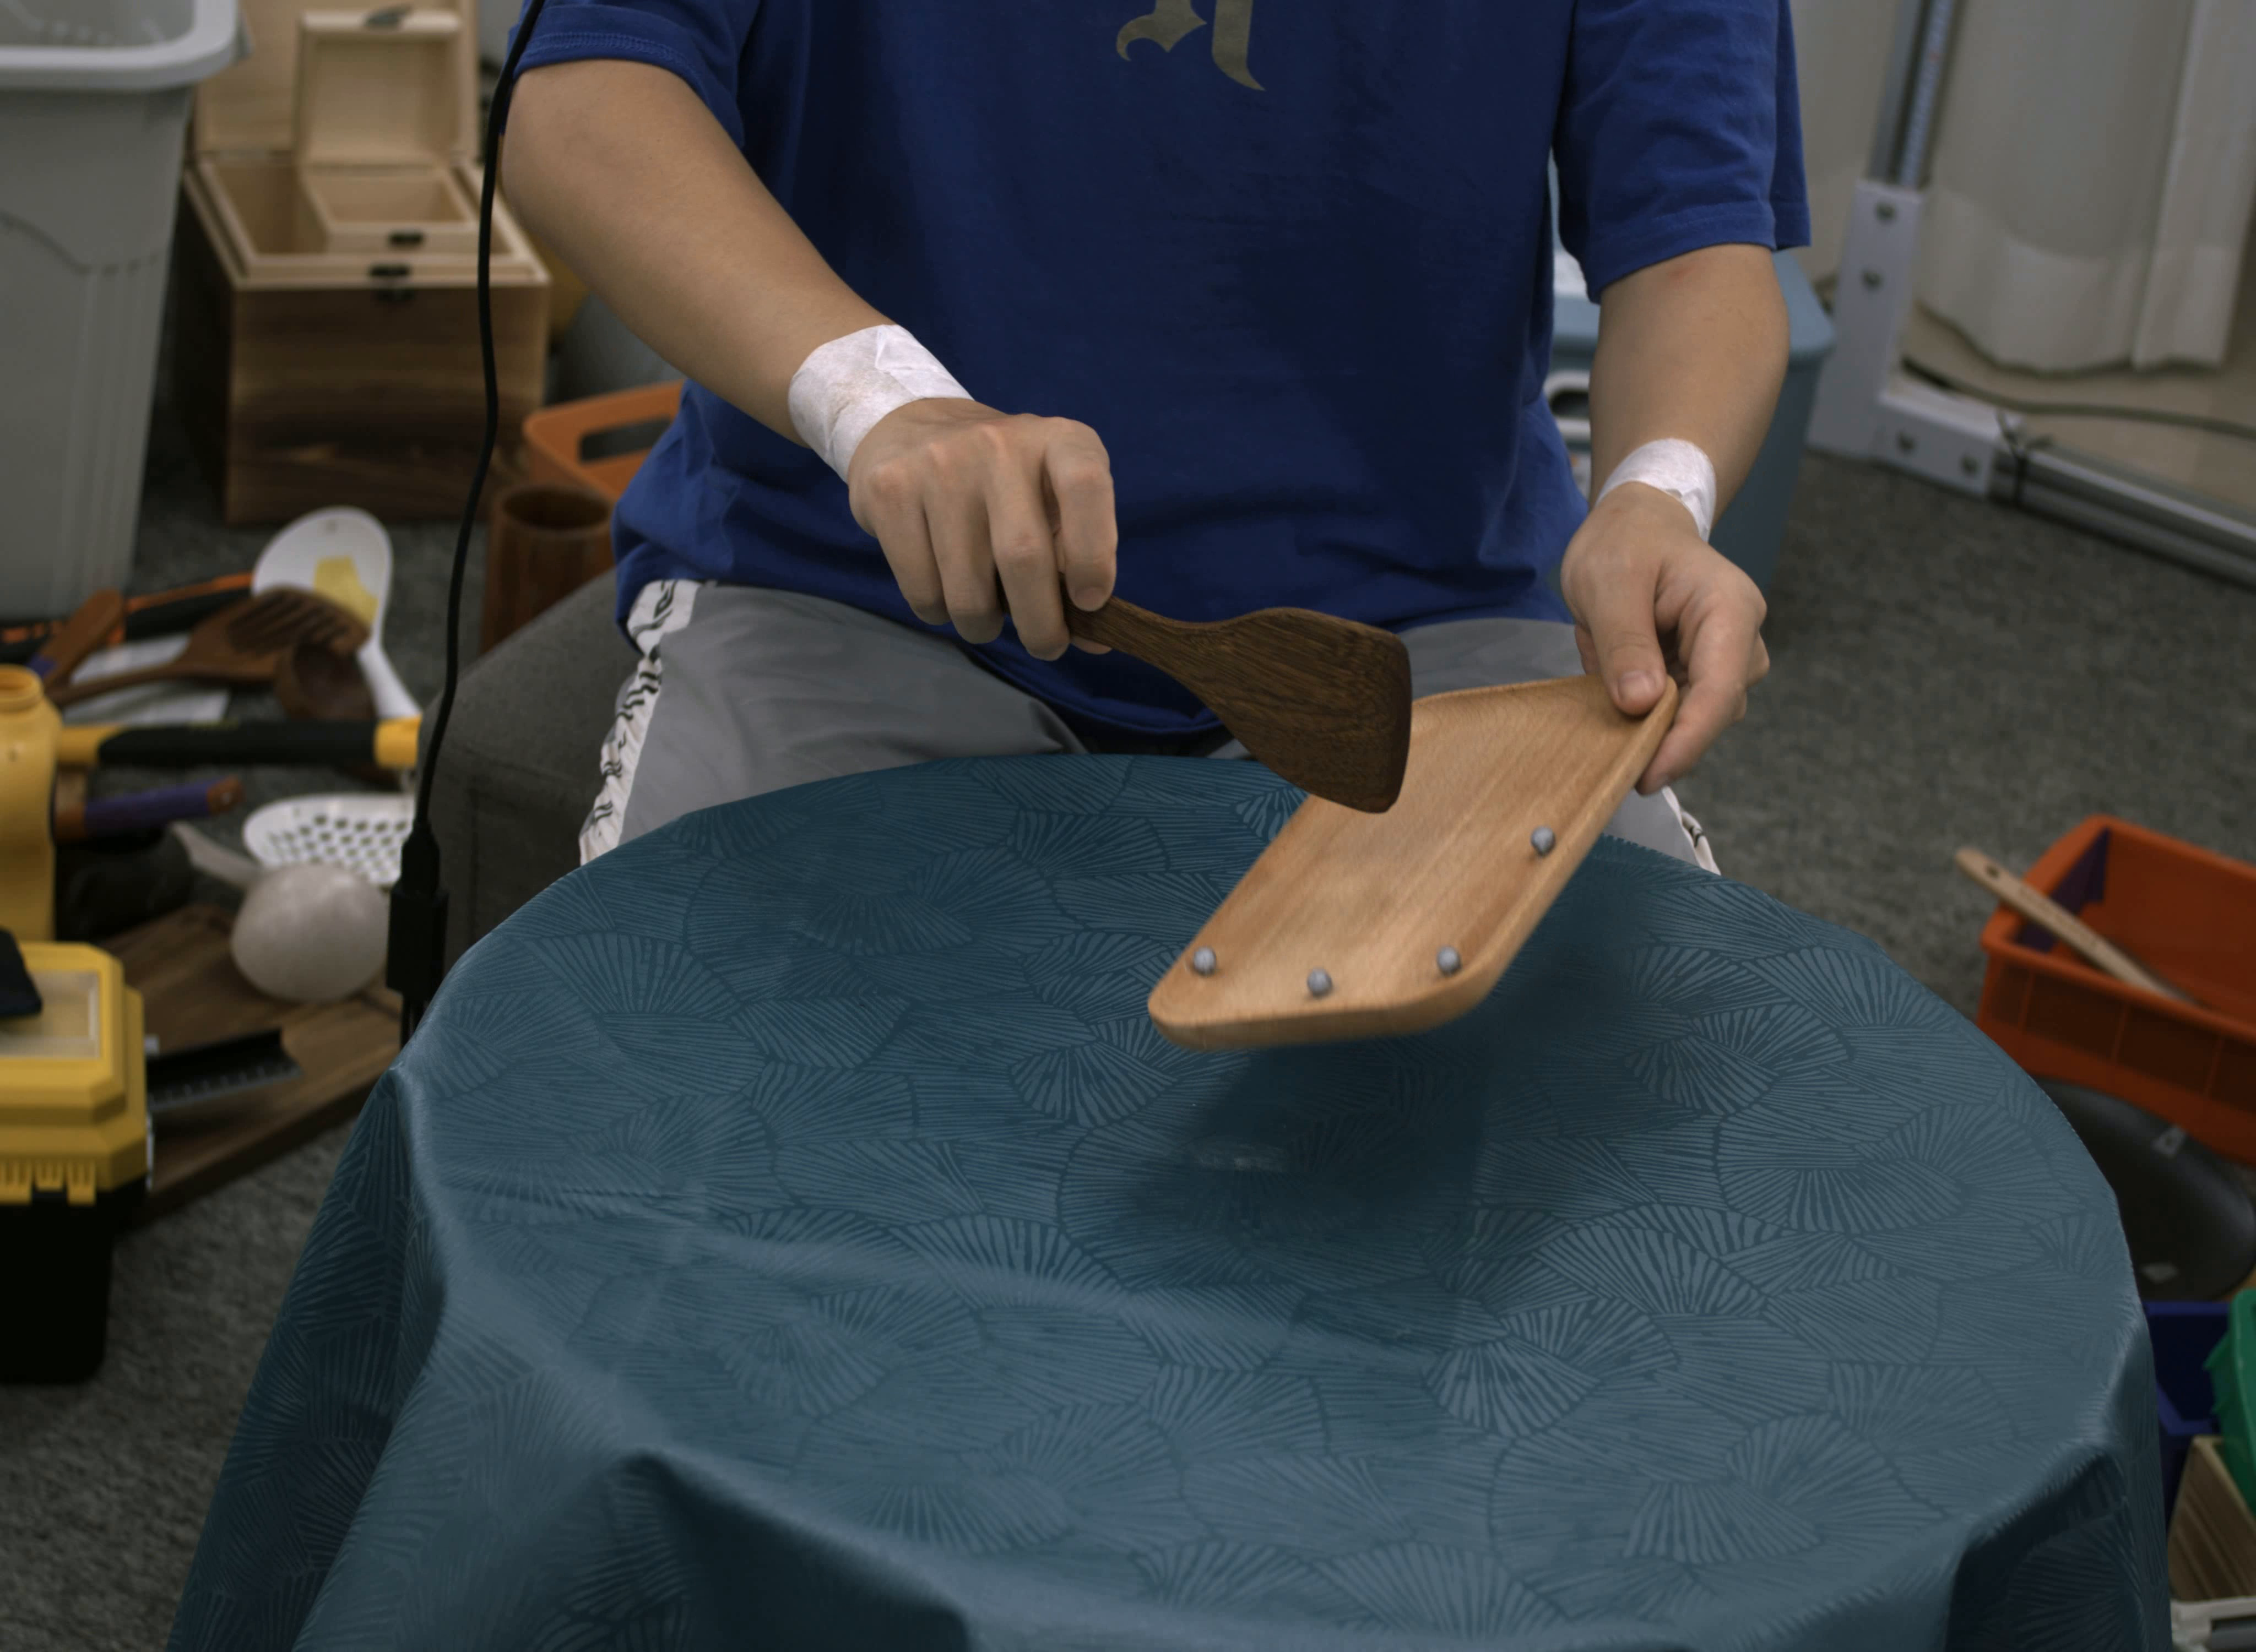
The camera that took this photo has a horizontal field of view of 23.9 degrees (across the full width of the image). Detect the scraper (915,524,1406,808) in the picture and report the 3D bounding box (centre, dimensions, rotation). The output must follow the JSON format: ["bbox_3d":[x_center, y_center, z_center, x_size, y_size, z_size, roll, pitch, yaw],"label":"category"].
[{"bbox_3d":[0.008,-0.066,1.866,0.212,0.075,0.011,21,38,32],"label":"scraper"}]

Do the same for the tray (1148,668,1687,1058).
[{"bbox_3d":[0.104,0.011,1.849,0.131,0.023,0.251,-4,26,29],"label":"tray"}]
